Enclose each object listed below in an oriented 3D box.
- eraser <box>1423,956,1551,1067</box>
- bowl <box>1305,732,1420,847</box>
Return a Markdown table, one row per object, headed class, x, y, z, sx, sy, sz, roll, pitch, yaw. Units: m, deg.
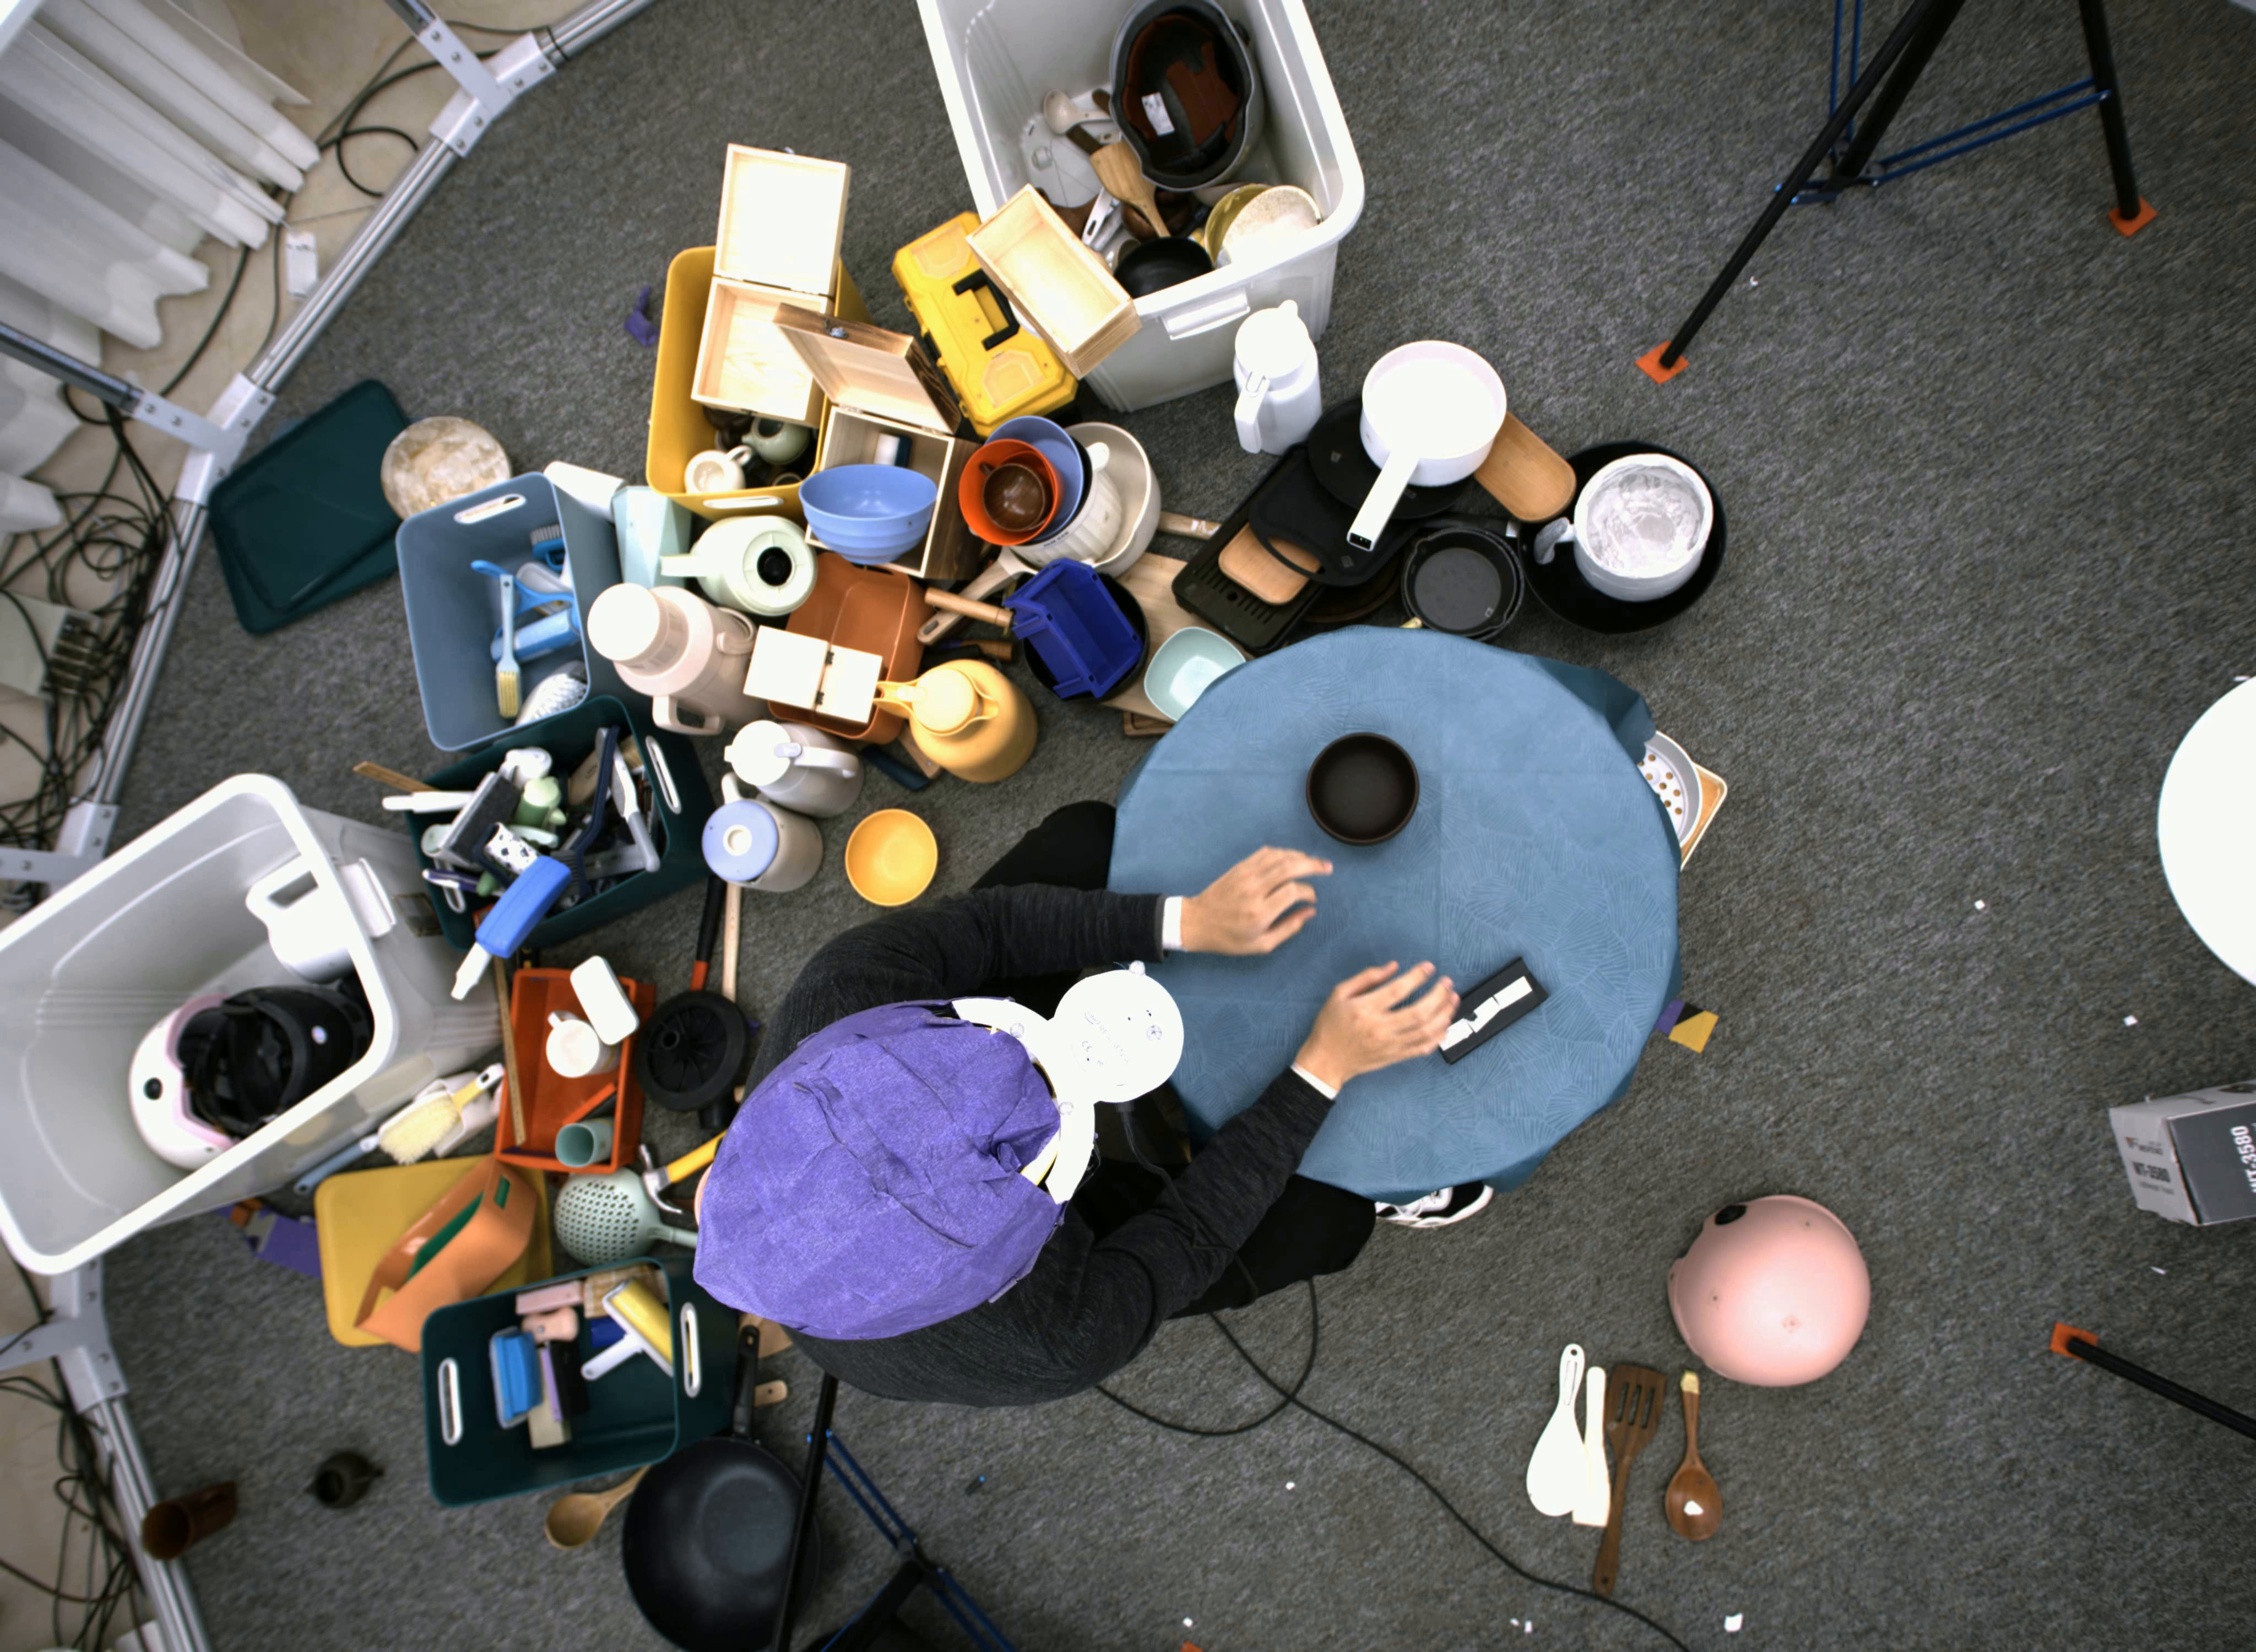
| class | x | y | z | sx | sy | sz | roll | pitch | yaw |
| --- | --- | --- | --- | --- | --- | --- | --- | --- | --- |
| eraser | 0.370 | 0.188 | 1.421 | 0.126 | 0.030 | 0.053 | -37 | 78 | 7 |
| bowl | 0.244 | -0.037 | 1.435 | 0.118 | 0.070 | 0.117 | -1 | 87 | 9 |
